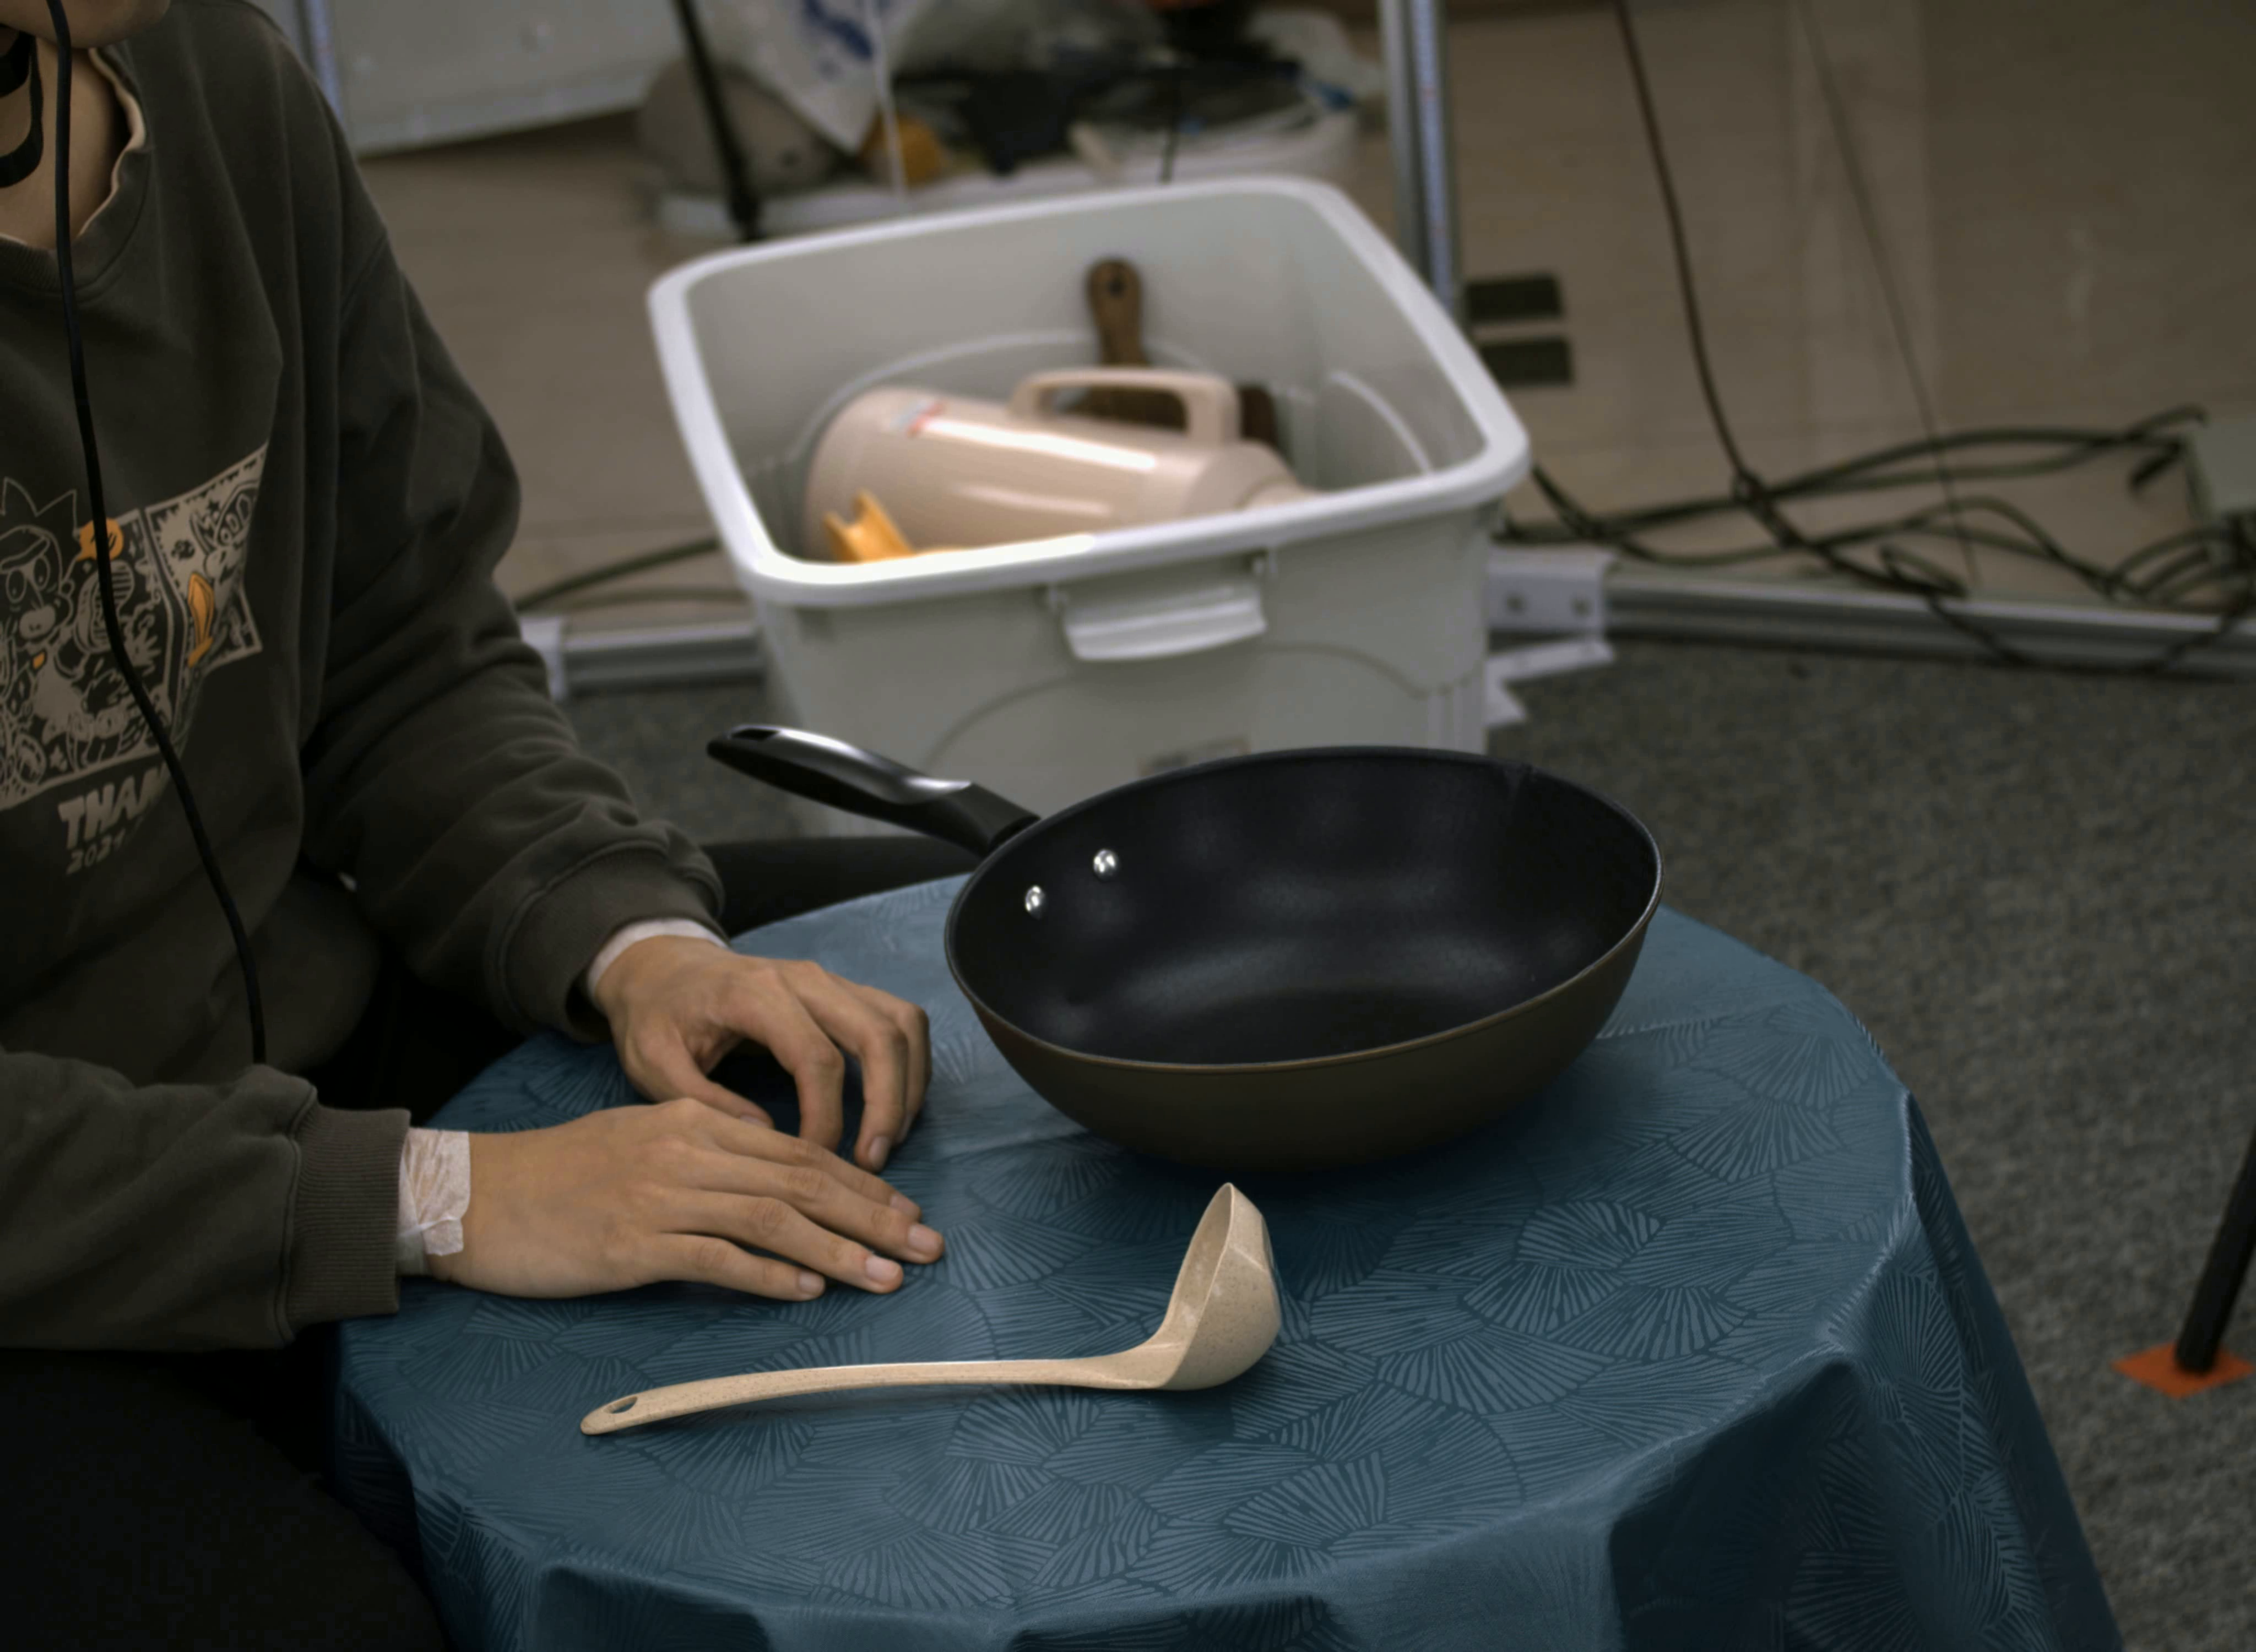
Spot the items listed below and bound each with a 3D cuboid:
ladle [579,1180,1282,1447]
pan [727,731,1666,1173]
[{"bbox_3d":[-0.073,0.173,2.005,0.254,0.074,0.071,-6,31,0],"label":"ladle"},{"bbox_3d":[0.004,0.043,2.251,0.460,0.088,0.285,15,33,41],"label":"pan"}]
